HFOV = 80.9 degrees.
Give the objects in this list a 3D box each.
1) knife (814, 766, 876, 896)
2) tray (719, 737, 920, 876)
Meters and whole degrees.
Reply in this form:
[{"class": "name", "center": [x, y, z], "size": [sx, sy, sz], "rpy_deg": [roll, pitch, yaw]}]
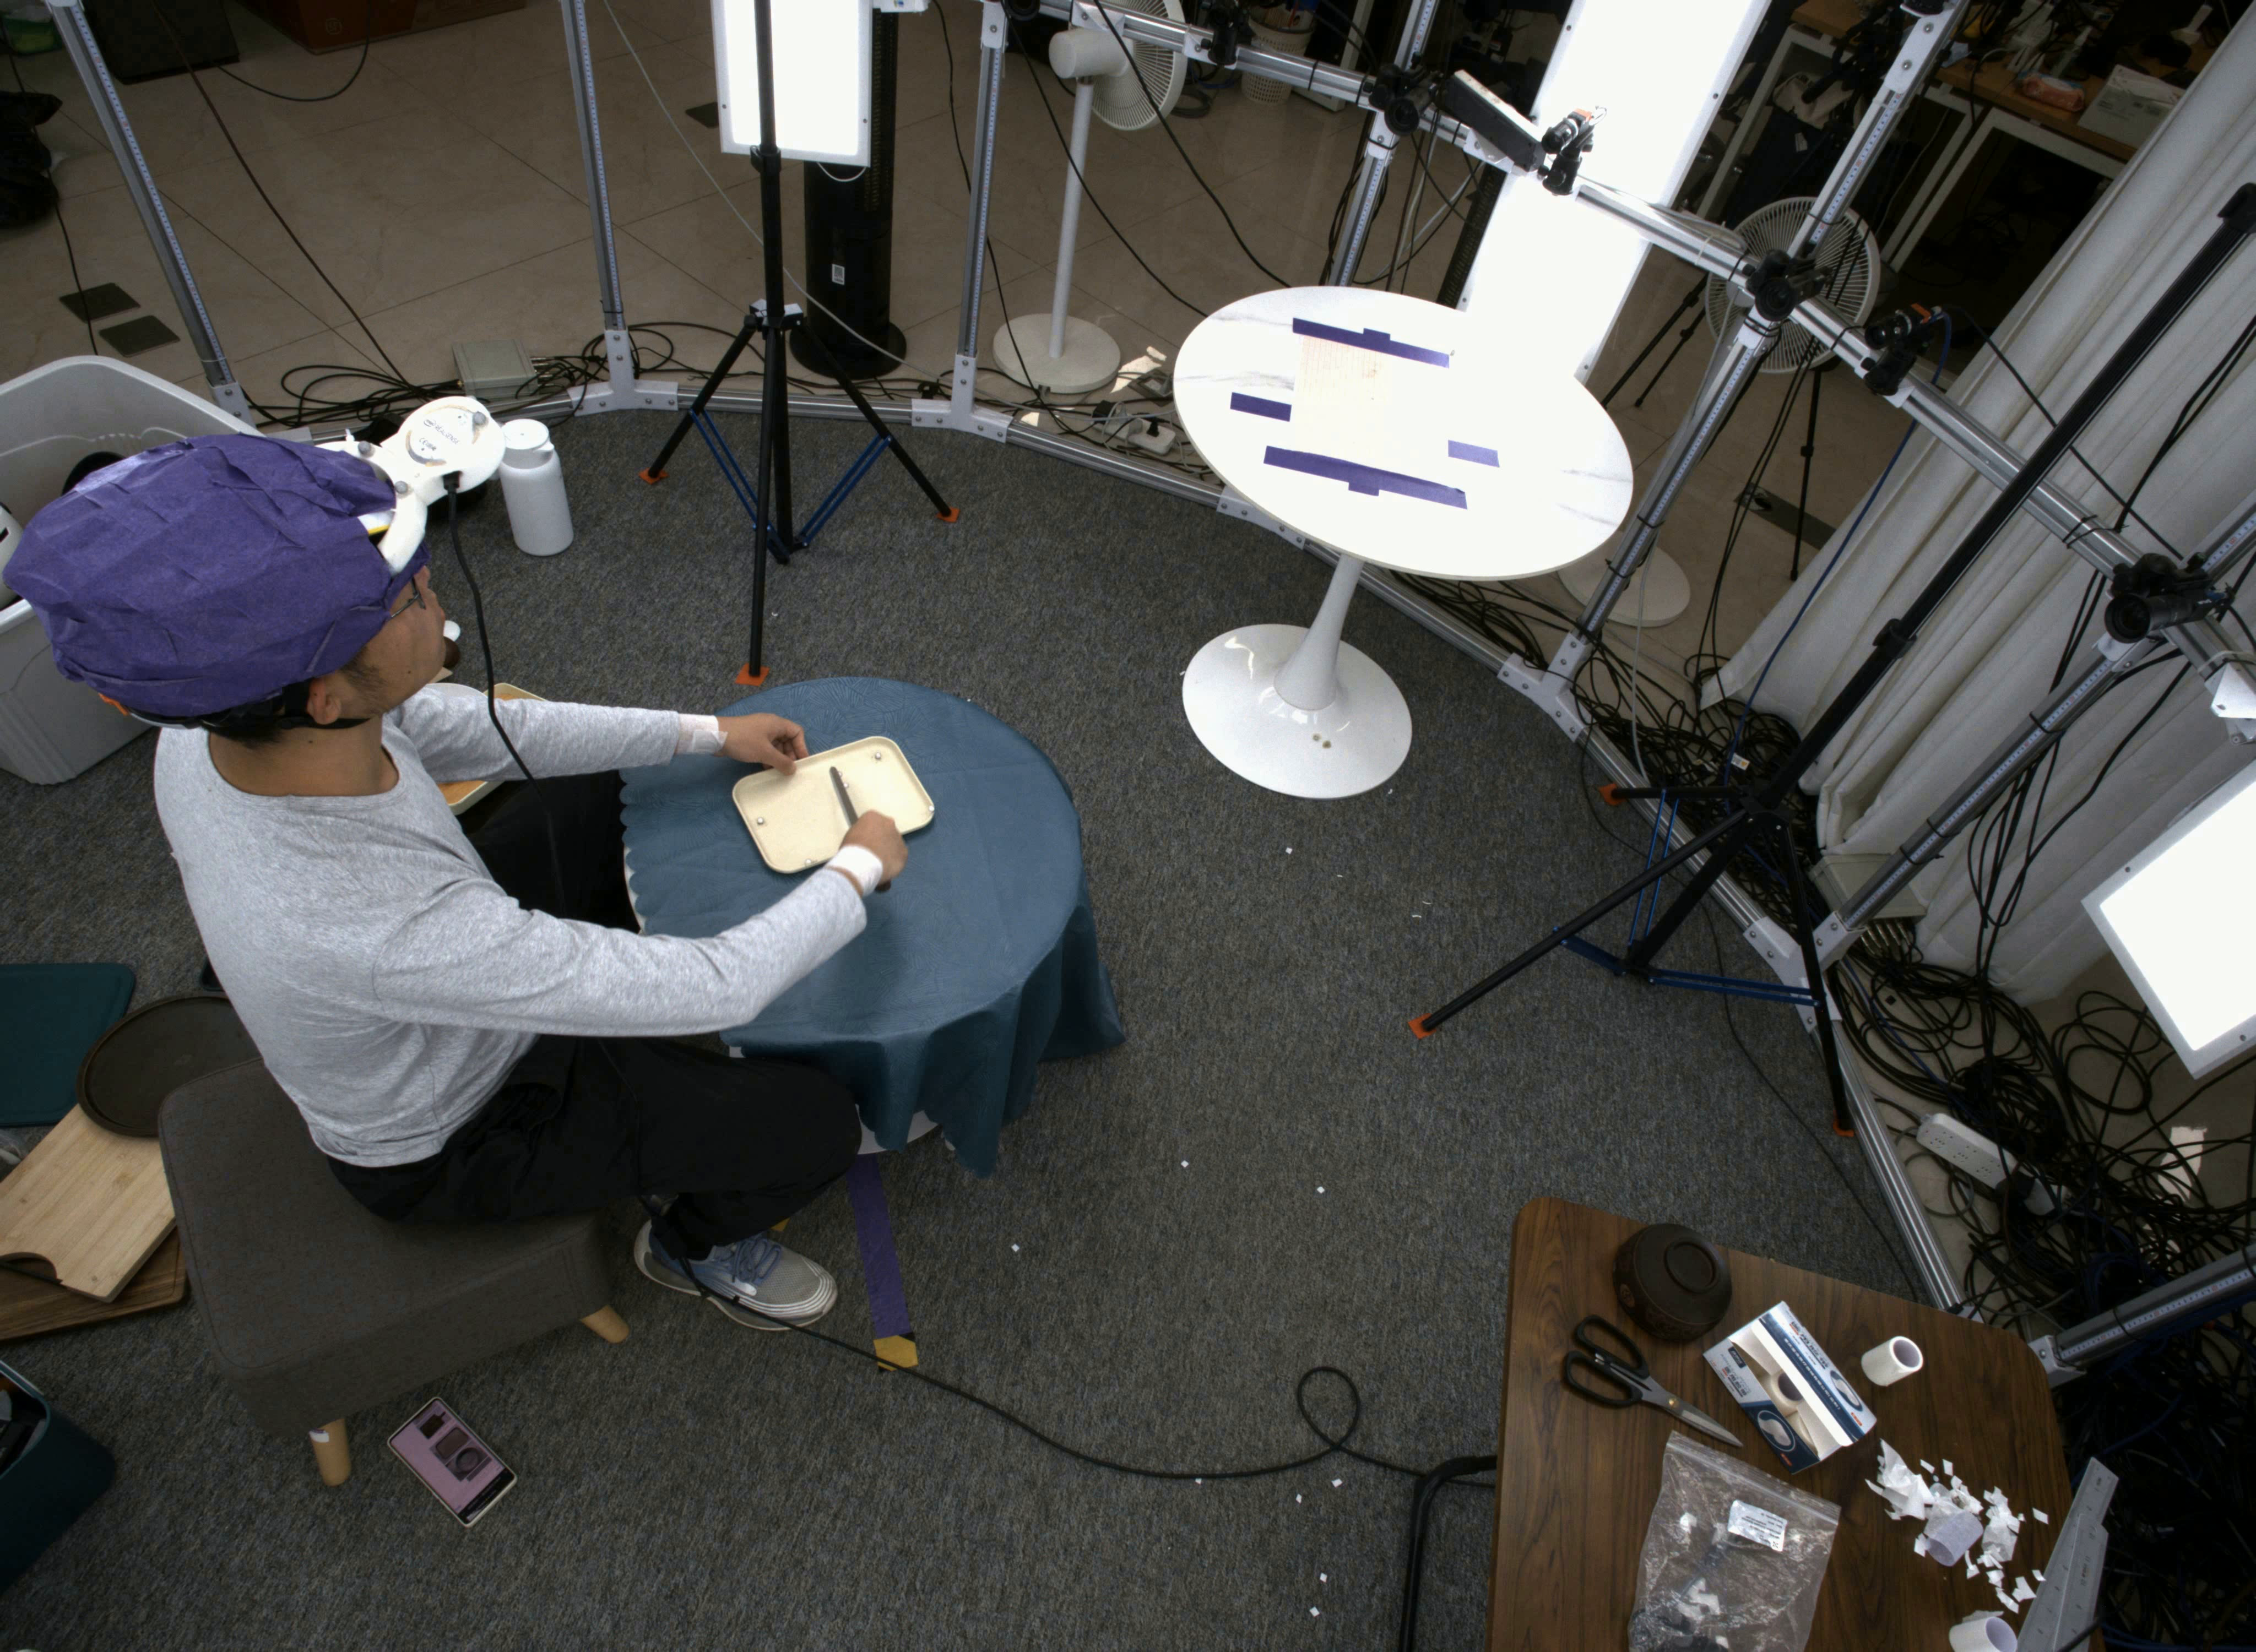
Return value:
[{"class": "knife", "center": [-0.370, 0.001, 1.664], "size": [0.020, 0.051, 0.279], "rpy_deg": [-8, 37, -25]}, {"class": "tray", "center": [-0.414, -0.028, 1.747], "size": [0.241, 0.018, 0.167], "rpy_deg": [-22, 62, -27]}]
